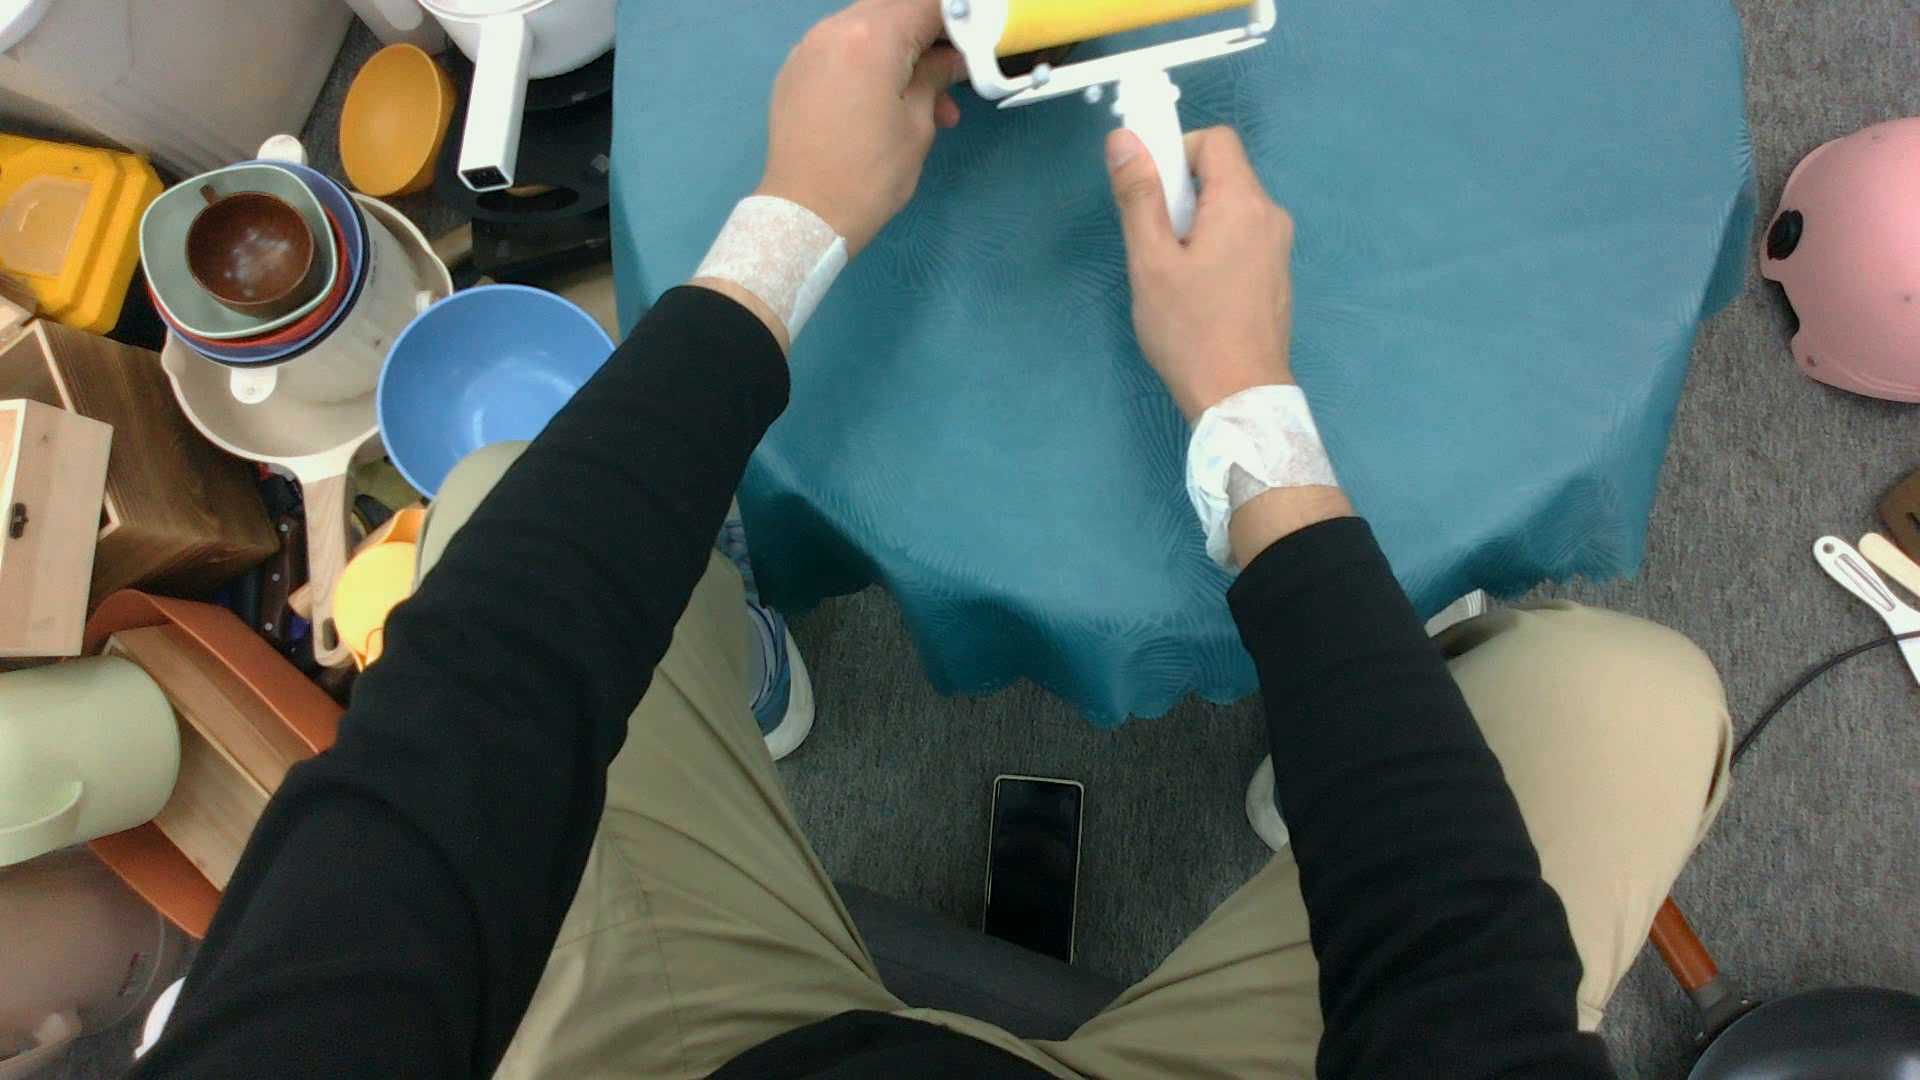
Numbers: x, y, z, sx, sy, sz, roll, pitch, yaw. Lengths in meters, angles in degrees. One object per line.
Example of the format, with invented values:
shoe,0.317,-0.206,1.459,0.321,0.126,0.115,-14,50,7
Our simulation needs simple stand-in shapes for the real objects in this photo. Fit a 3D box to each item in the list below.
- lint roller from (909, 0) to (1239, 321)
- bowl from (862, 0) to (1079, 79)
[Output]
lint roller,0.086,-0.196,0.639,0.175,0.051,0.192,-26,89,-30
bowl,0.006,-0.292,0.710,0.118,0.070,0.118,0,79,3
